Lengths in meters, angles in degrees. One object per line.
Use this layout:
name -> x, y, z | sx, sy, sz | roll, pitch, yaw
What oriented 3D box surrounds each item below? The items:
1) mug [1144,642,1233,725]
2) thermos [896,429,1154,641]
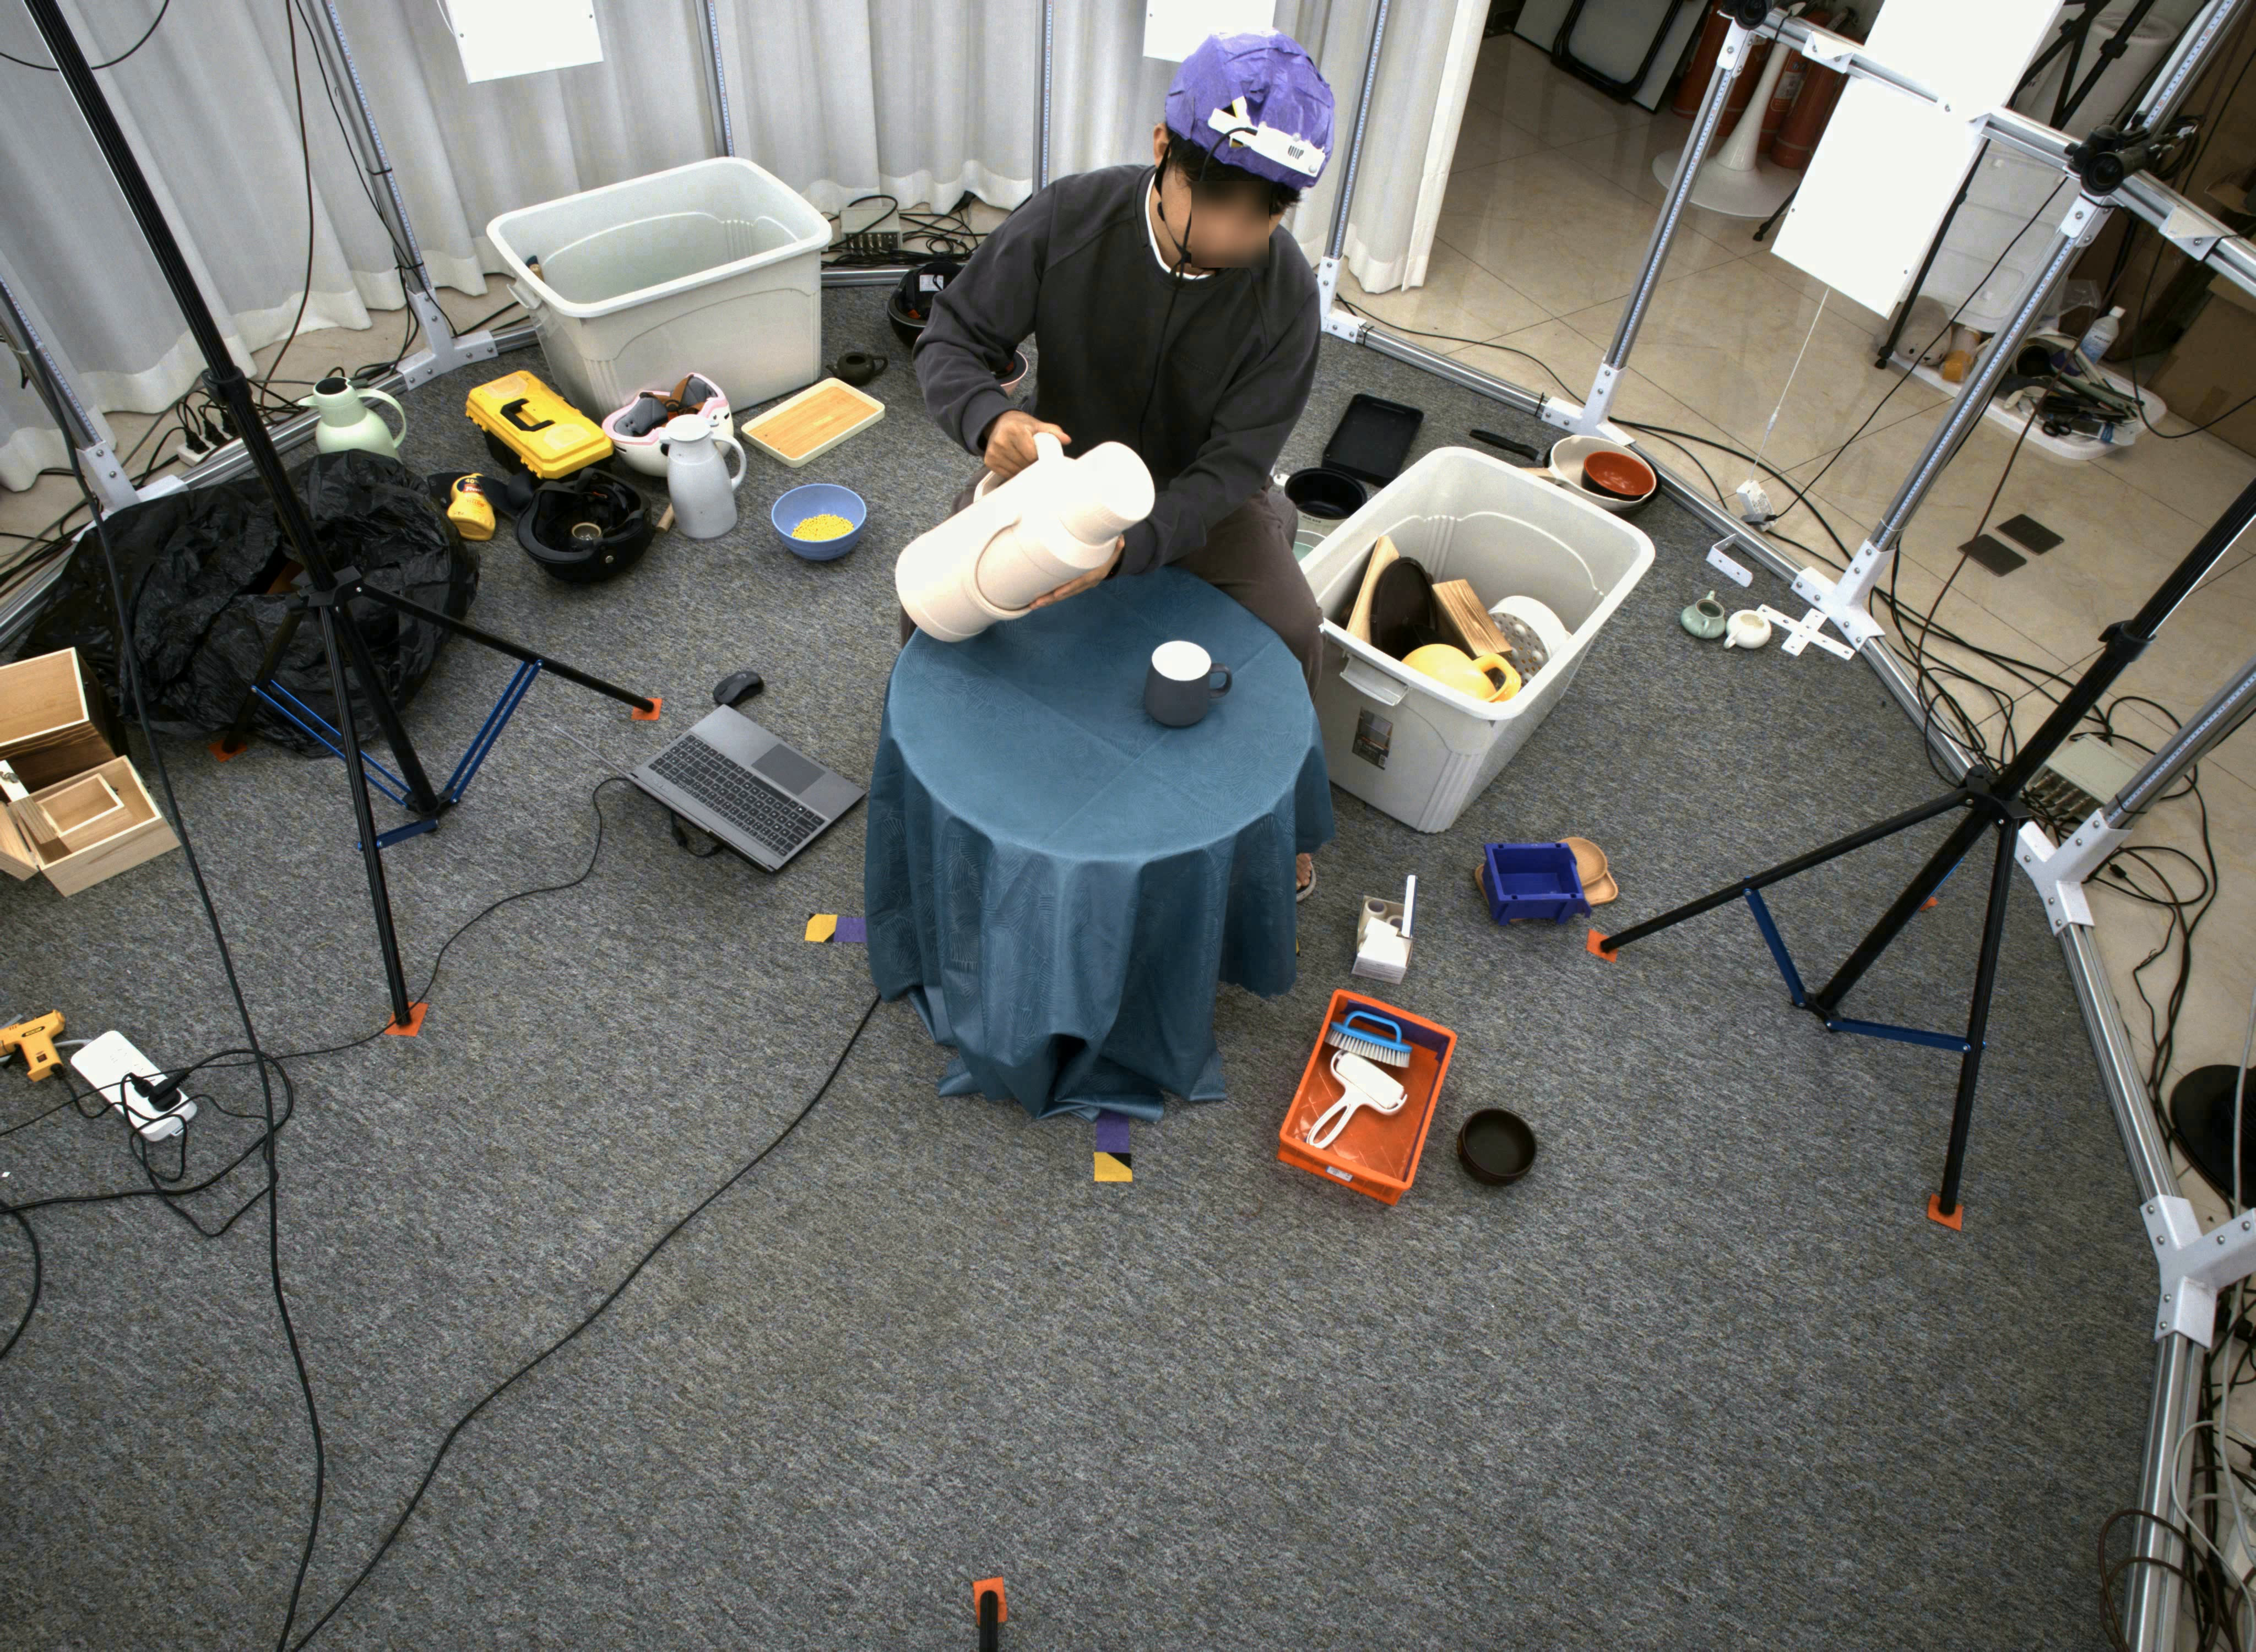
mug -> 0.086, -0.199, 1.786 | 0.123, 0.088, 0.096 | -4, 49, -8
thermos -> -0.140, -0.400, 1.731 | 0.175, 0.404, 0.208 | -6, 81, -43
